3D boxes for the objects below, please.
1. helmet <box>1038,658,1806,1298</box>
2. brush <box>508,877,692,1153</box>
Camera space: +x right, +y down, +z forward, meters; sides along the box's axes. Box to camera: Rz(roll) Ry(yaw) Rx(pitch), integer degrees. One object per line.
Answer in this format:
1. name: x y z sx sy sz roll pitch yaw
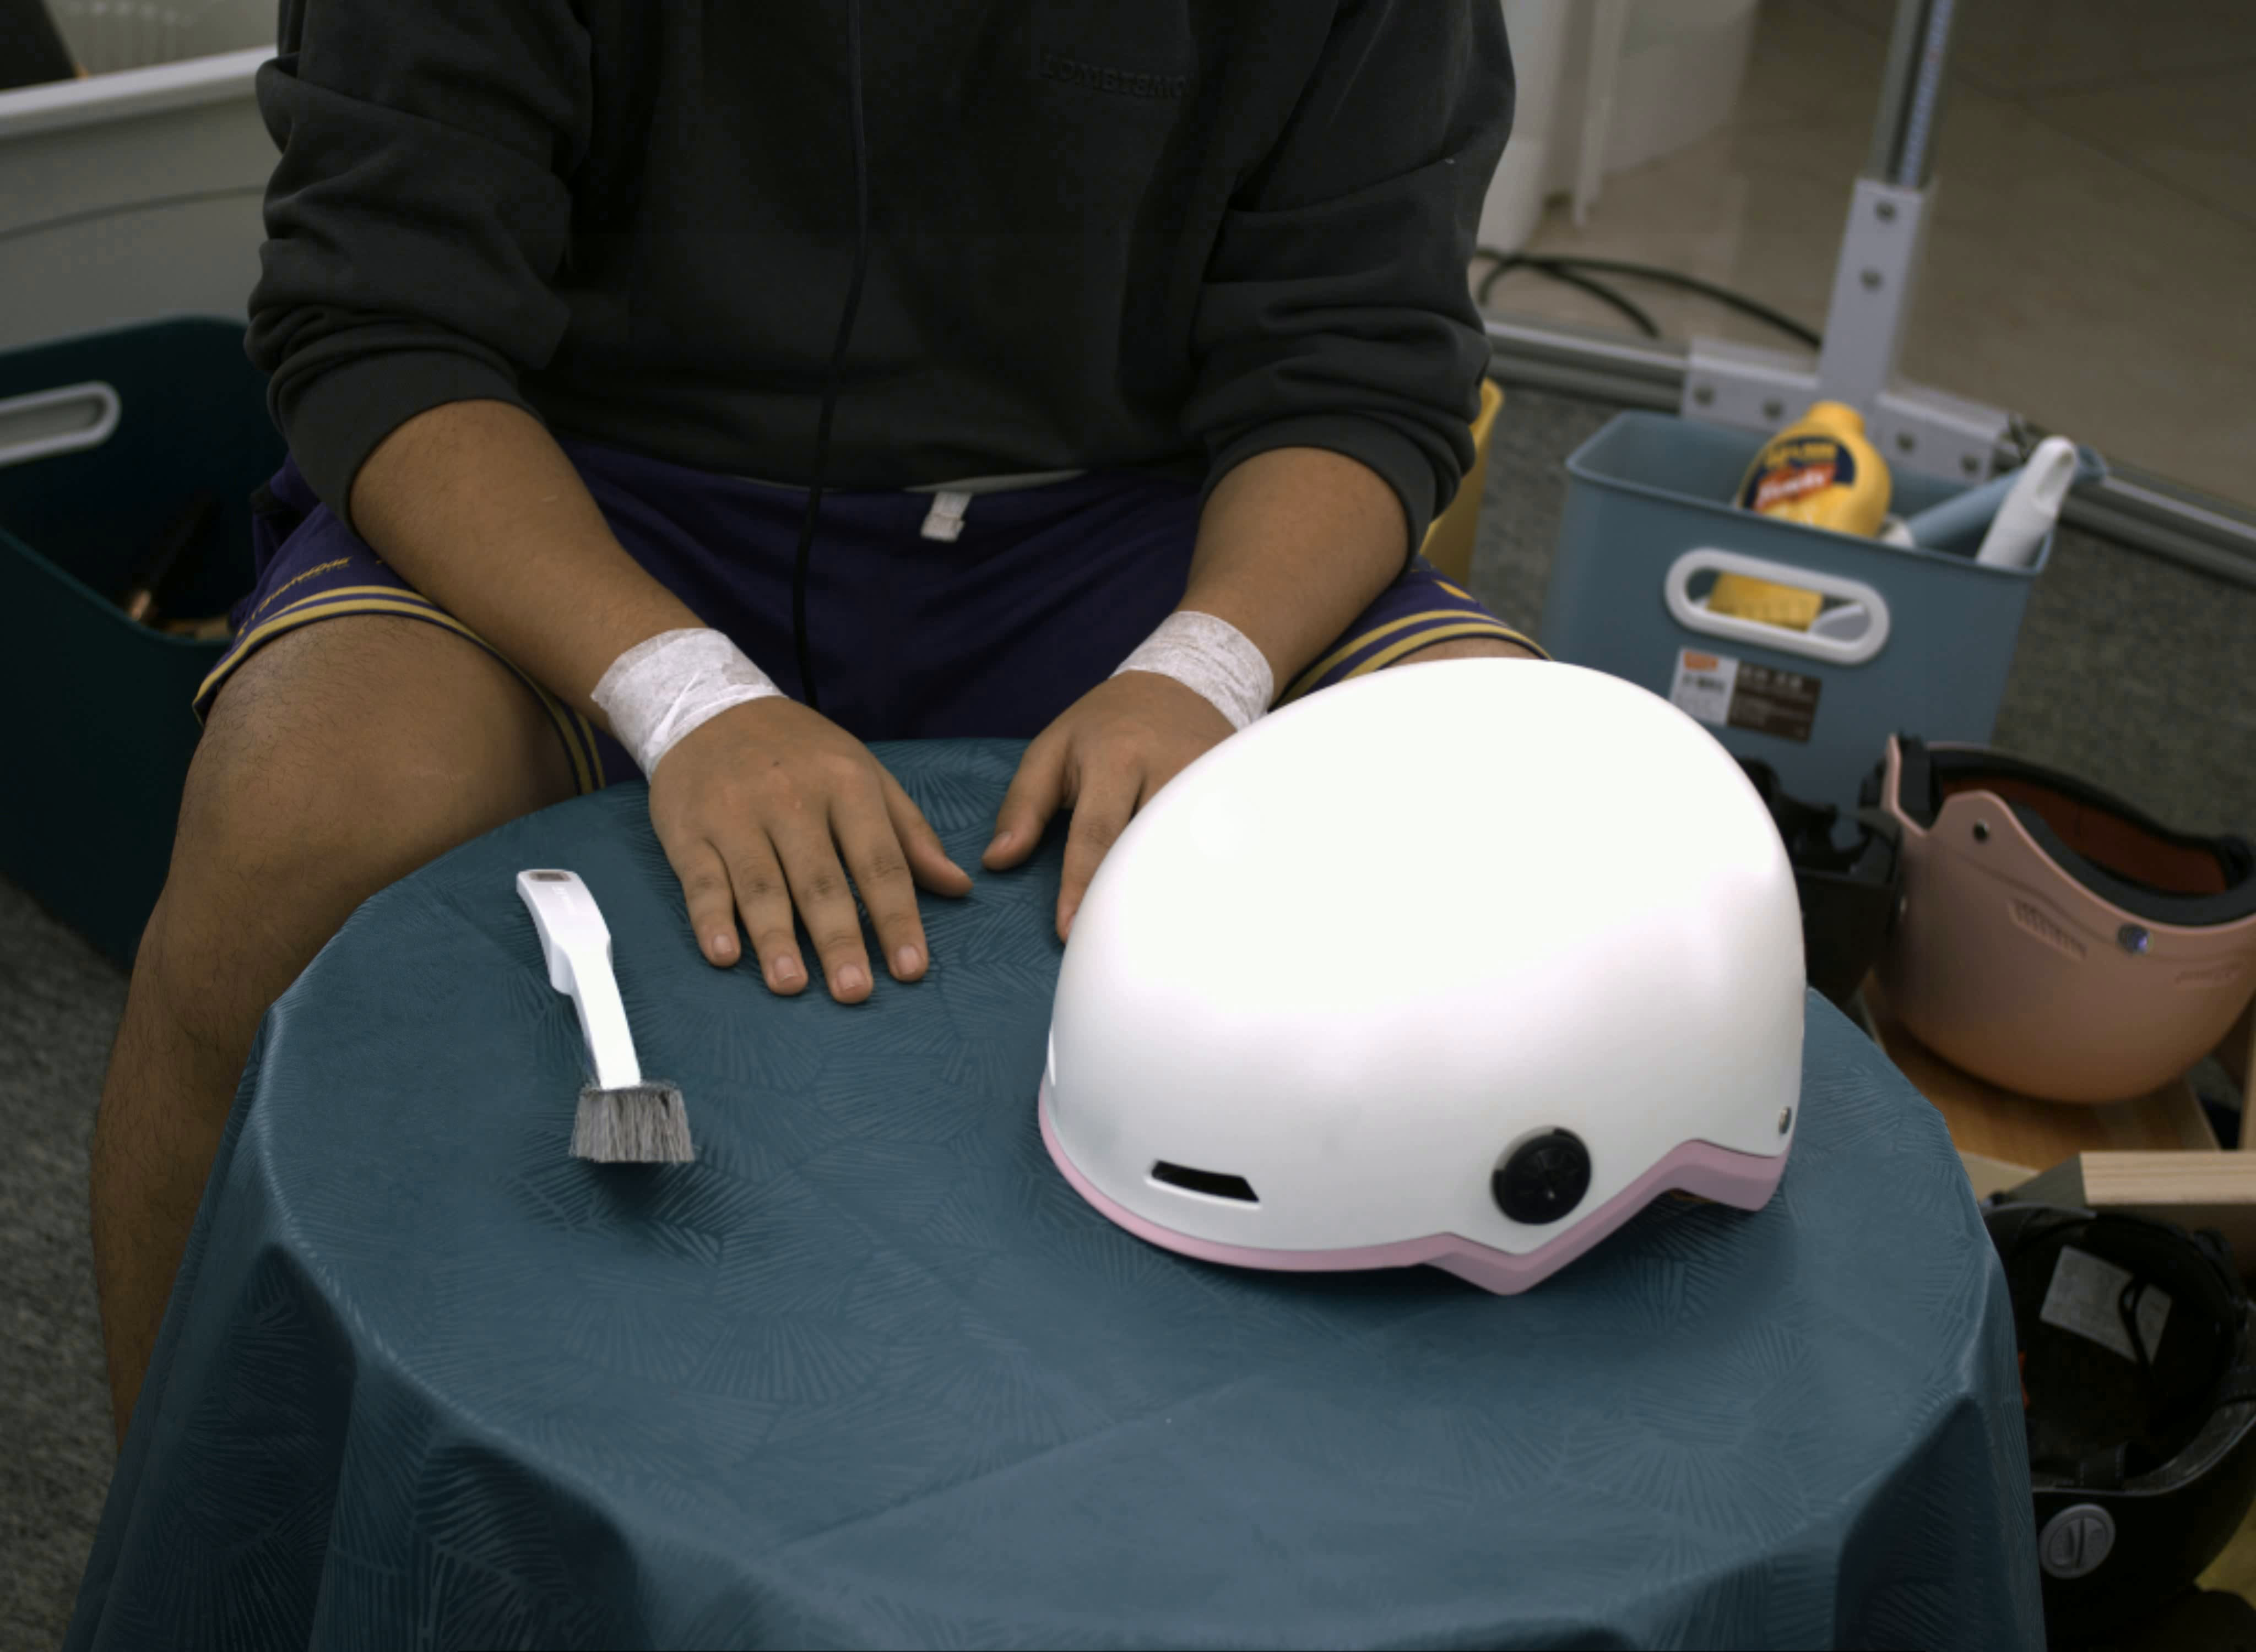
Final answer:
1. helmet: 0.108 0.035 1.820 0.267 0.166 0.239 -8 31 -26
2. brush: -0.187 0.068 1.843 0.034 0.050 0.245 -1 15 -15
